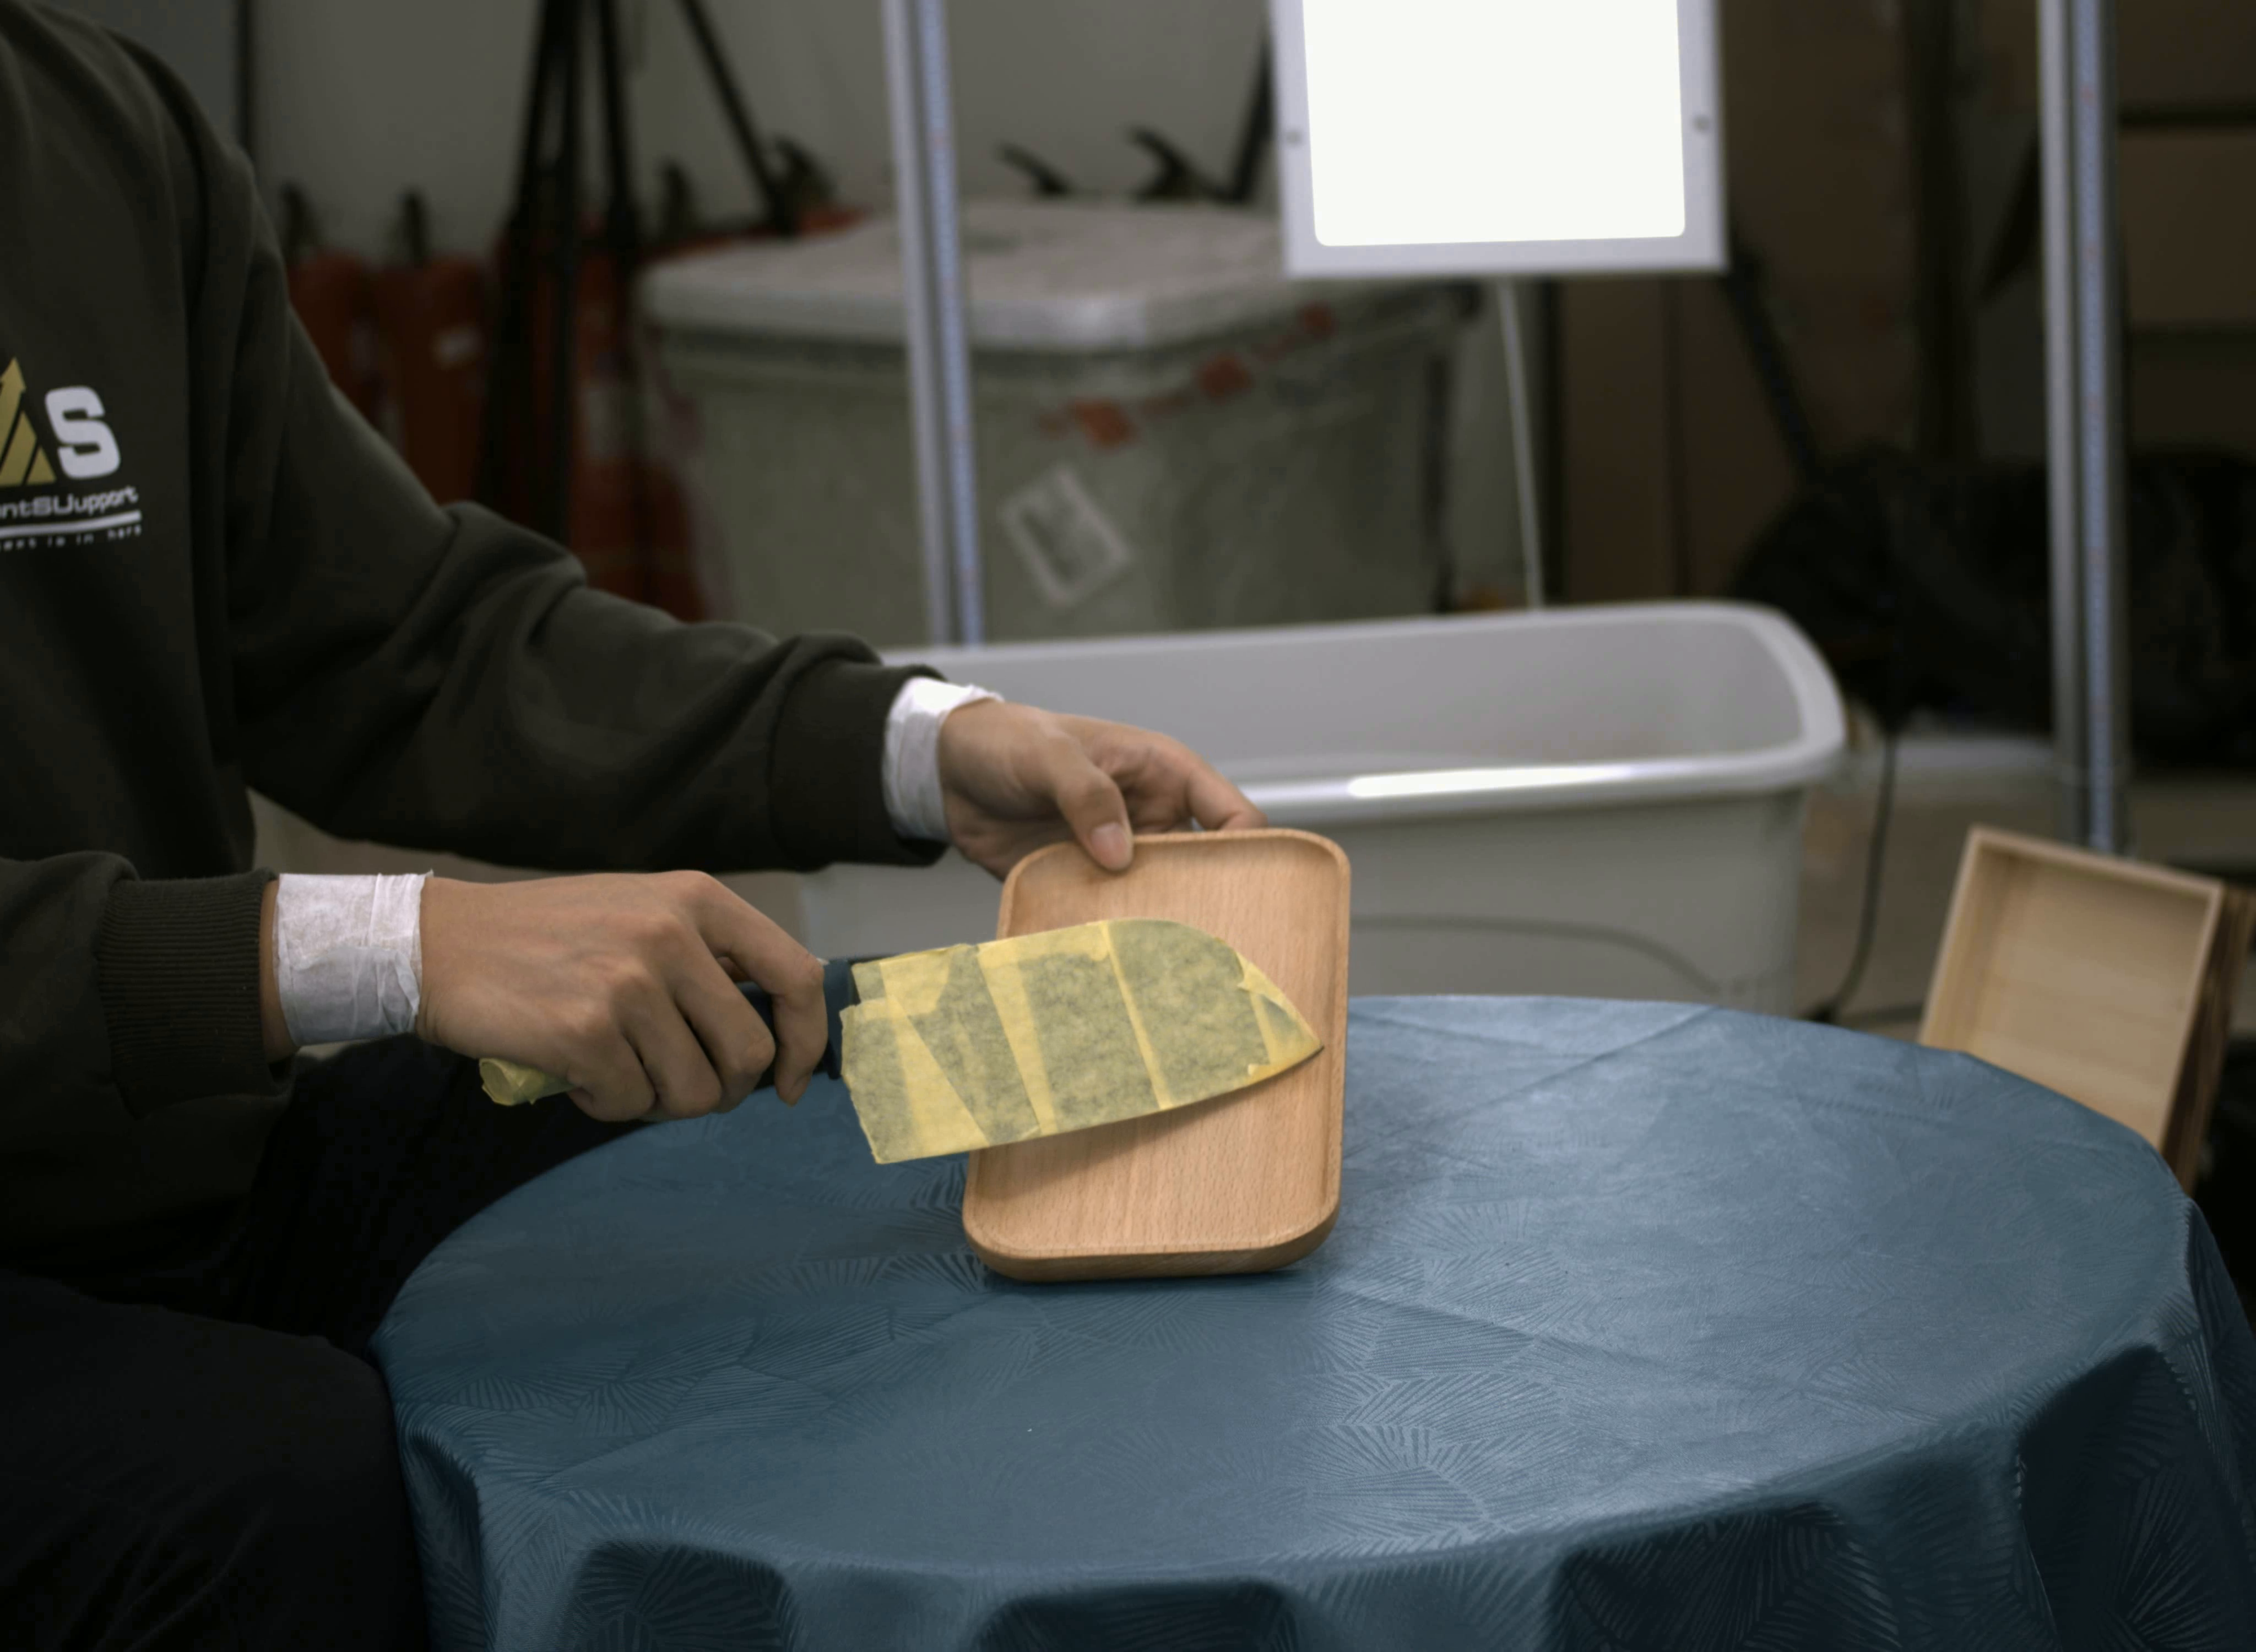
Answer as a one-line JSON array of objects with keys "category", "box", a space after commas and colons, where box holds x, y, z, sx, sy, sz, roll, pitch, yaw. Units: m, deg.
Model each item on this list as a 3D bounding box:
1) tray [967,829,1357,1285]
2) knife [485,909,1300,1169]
[{"category": "tray", "box": [0.015, 0.077, 1.904, 0.131, 0.023, 0.249, -6, 34, 8]}, {"category": "knife", "box": [-0.073, 0.076, 1.846, 0.284, 0.081, 0.027, -8, -26, -19]}]
